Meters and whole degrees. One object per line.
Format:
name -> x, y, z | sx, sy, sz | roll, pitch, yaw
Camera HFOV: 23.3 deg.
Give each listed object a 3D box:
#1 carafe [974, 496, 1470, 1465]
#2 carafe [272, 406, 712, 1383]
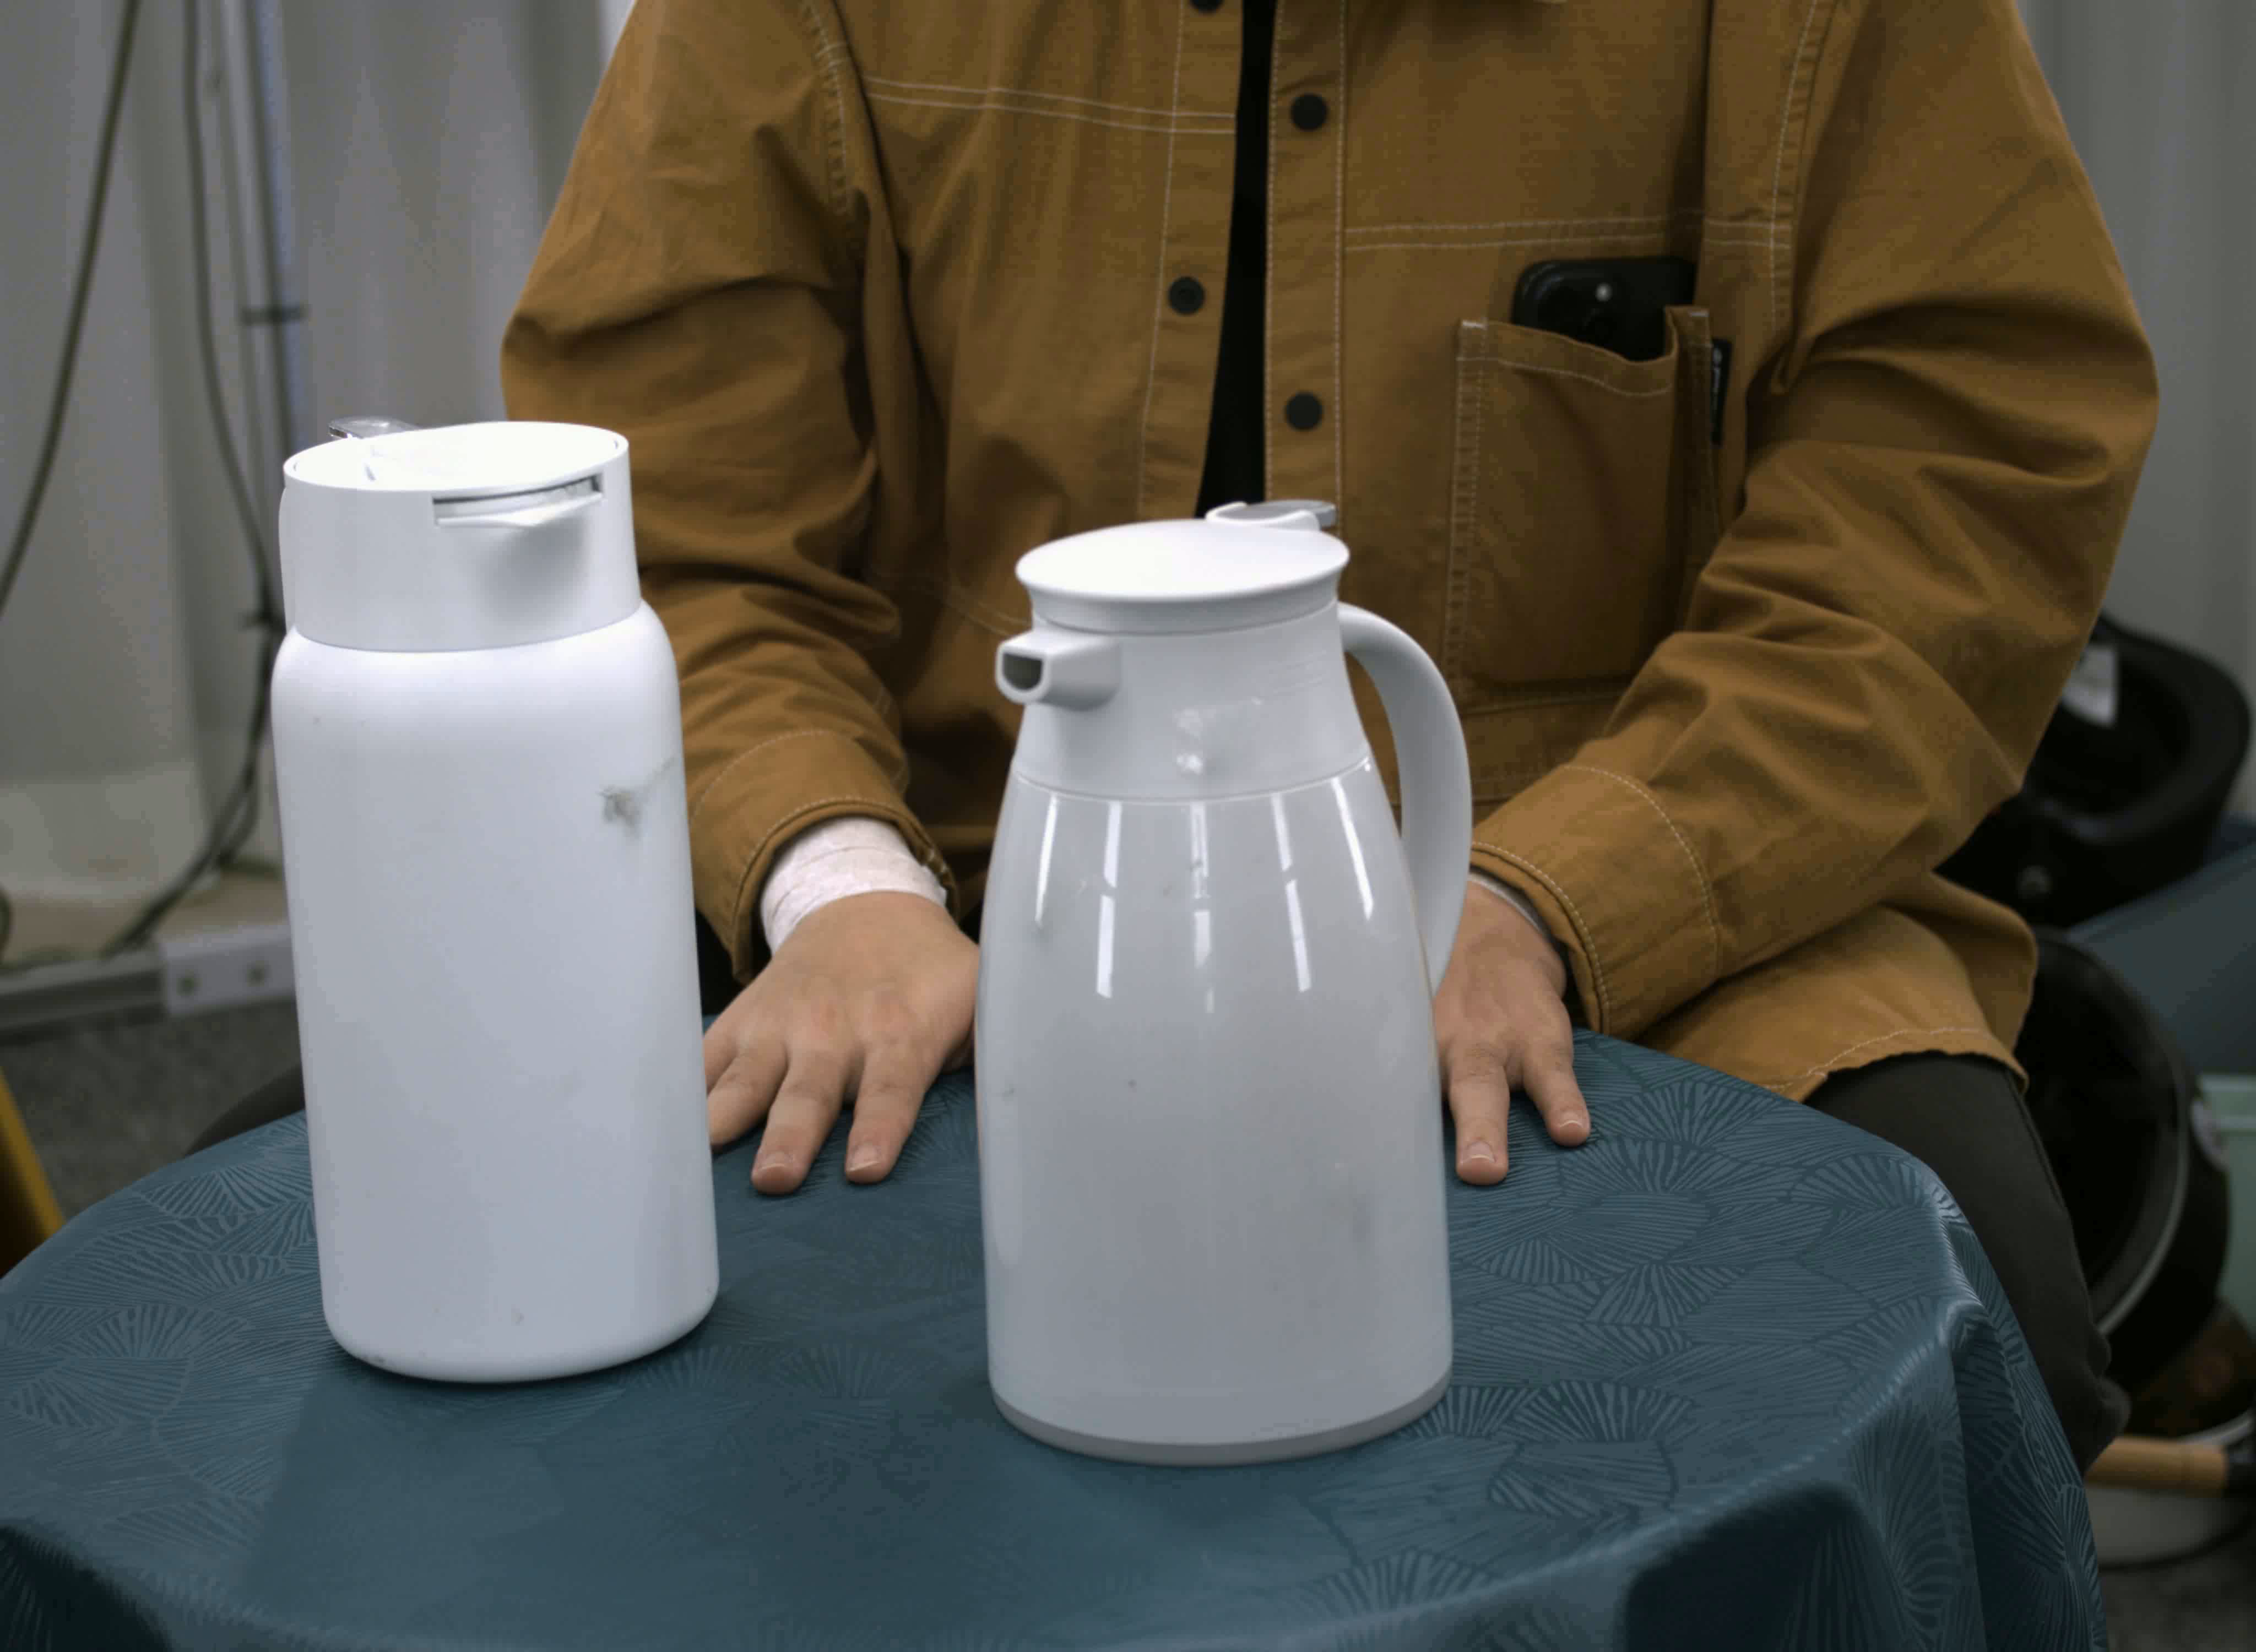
carafe -> 0.033, 0.034, 1.532 | 0.133, 0.248, 0.167 | 11, 18, 43
carafe -> -0.196, 0.017, 1.604 | 0.123, 0.268, 0.174 | -13, 17, -30
